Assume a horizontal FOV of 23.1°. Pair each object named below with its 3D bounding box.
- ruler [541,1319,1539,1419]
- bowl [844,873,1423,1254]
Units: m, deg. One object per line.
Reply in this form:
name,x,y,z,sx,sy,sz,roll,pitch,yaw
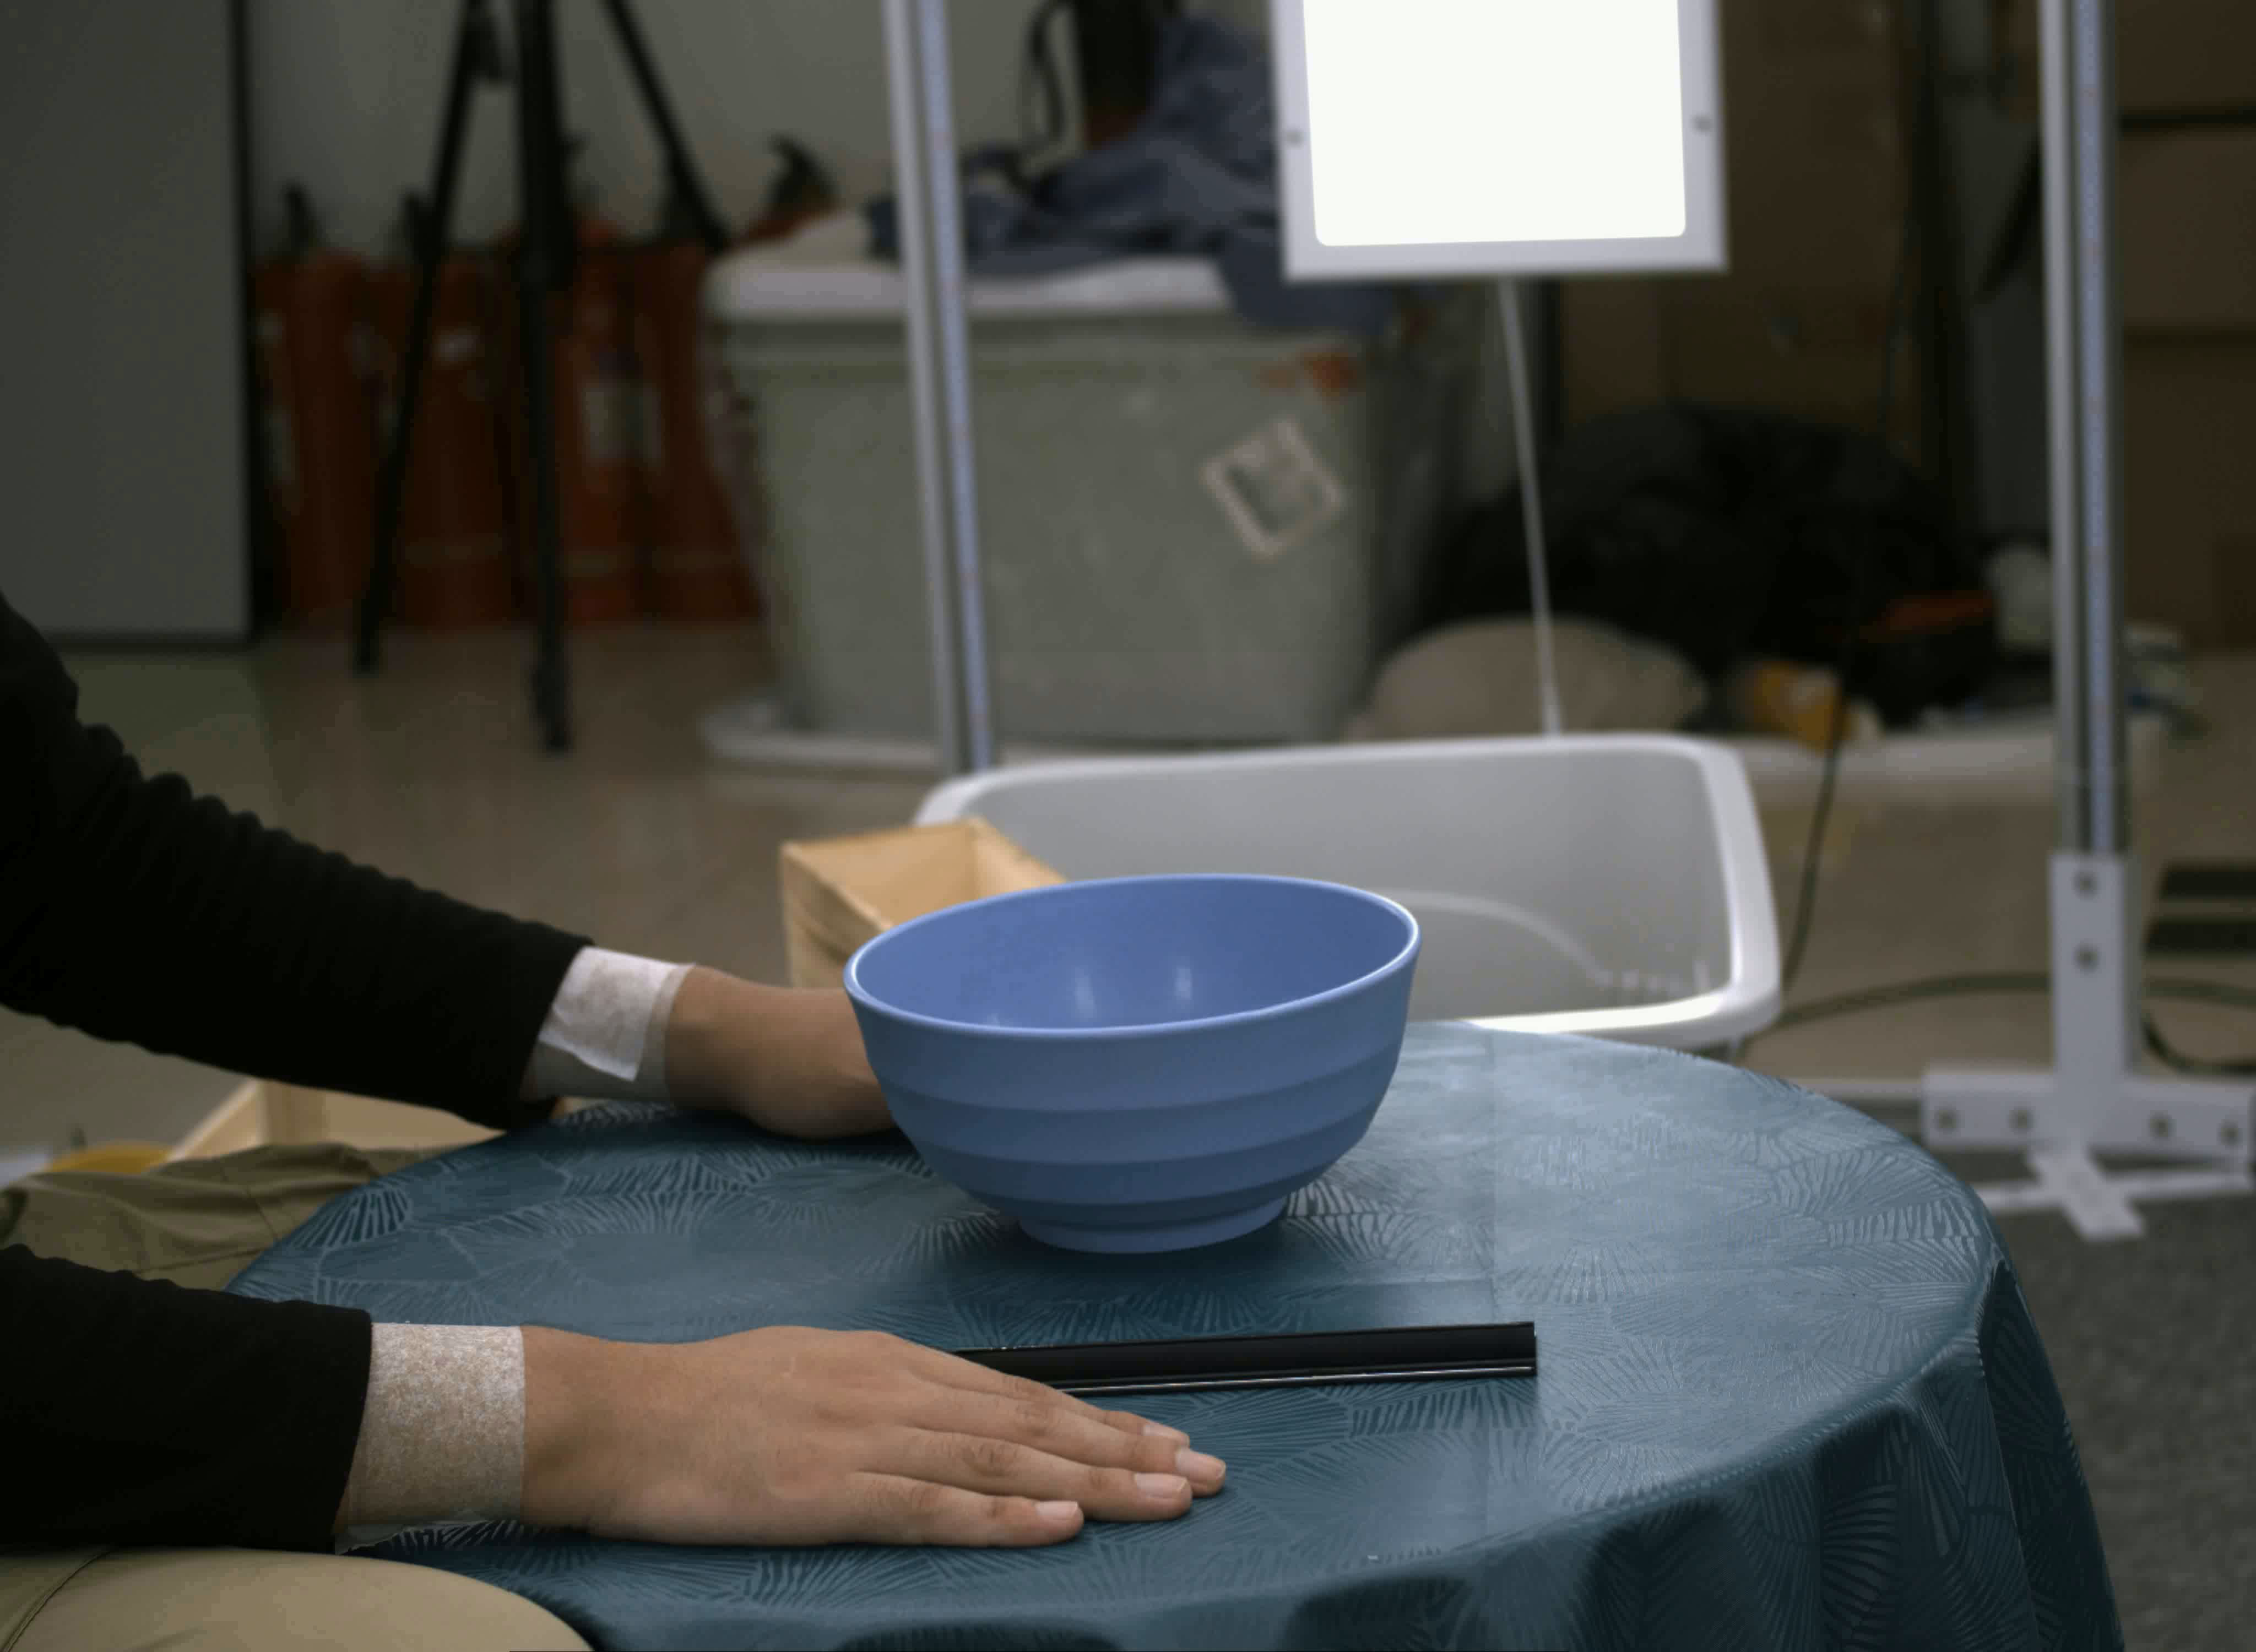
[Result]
ruler,-0.028,0.165,1.718,0.313,0.017,0.039,-3,10,8
bowl,0.005,0.086,1.863,0.196,0.096,0.196,-4,13,0
